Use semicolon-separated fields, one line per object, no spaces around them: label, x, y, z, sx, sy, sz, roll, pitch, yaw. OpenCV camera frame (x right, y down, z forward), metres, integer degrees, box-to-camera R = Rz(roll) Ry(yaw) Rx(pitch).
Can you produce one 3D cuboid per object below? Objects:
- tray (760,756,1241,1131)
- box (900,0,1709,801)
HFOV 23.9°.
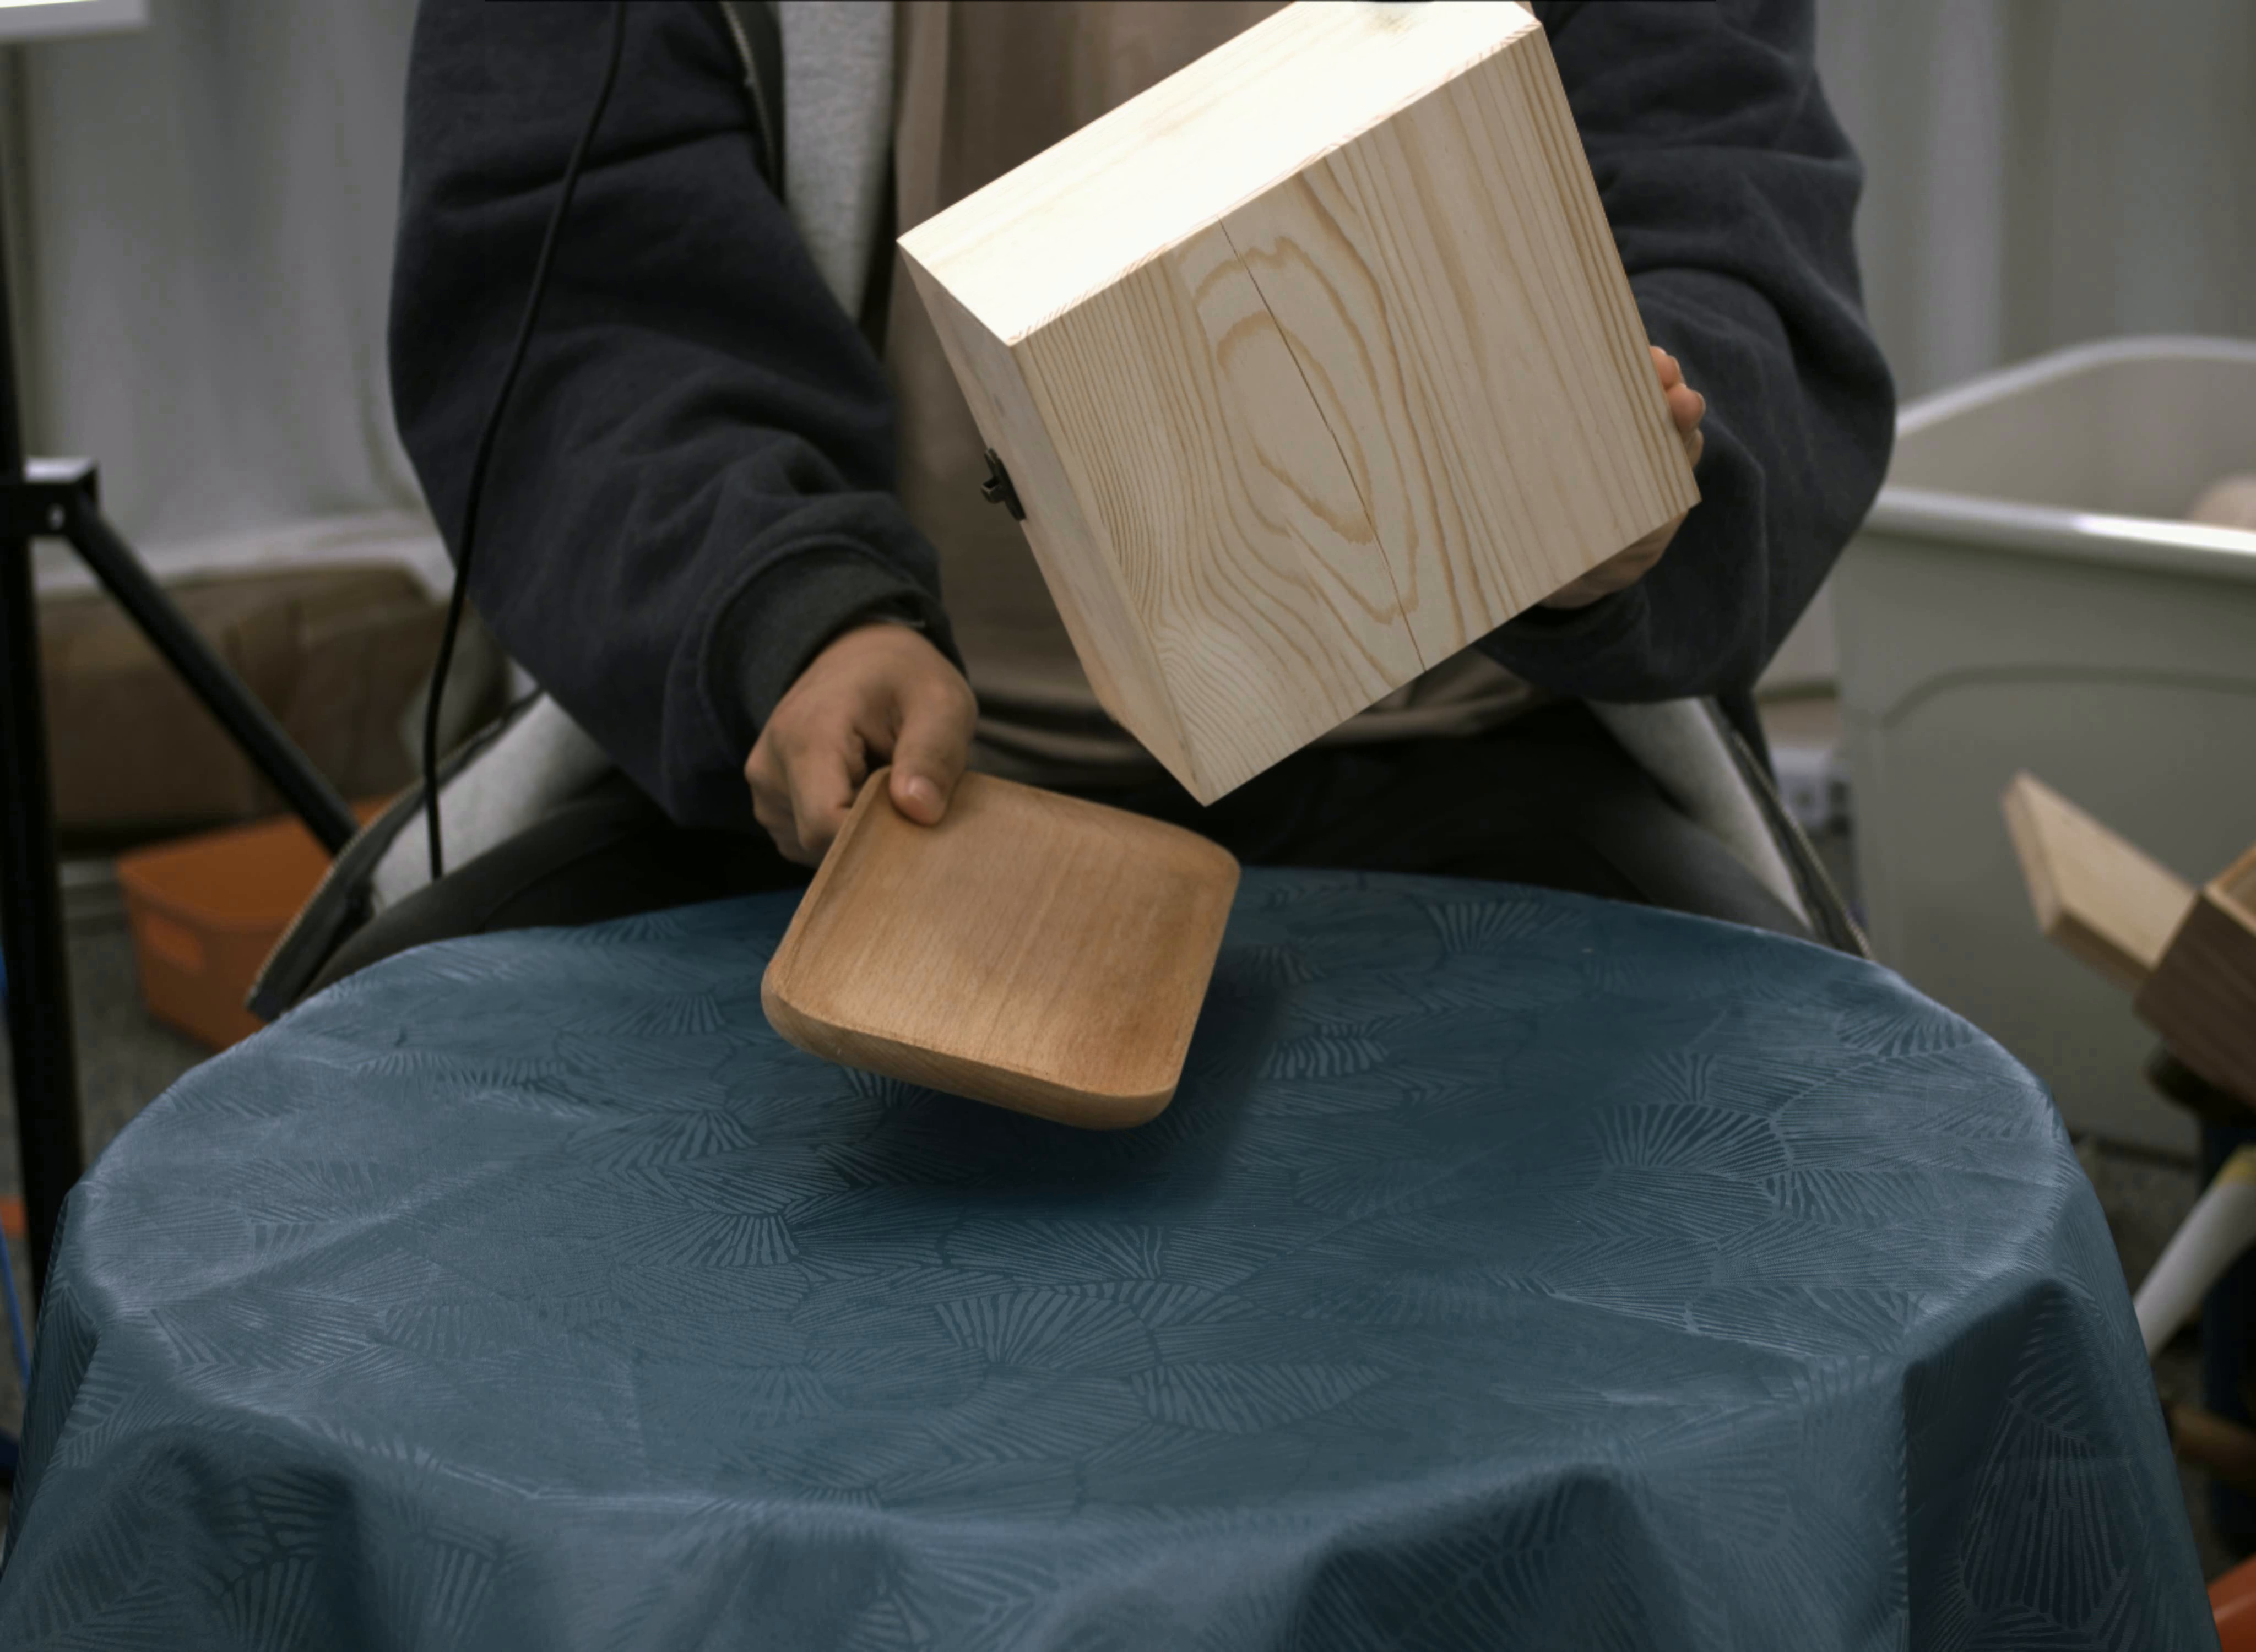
tray;-0.037;0.034;1.660;0.130;0.023;0.250;17;19;2
box;0.046;-0.191;1.633;0.263;0.179;0.258;-31;36;-9
